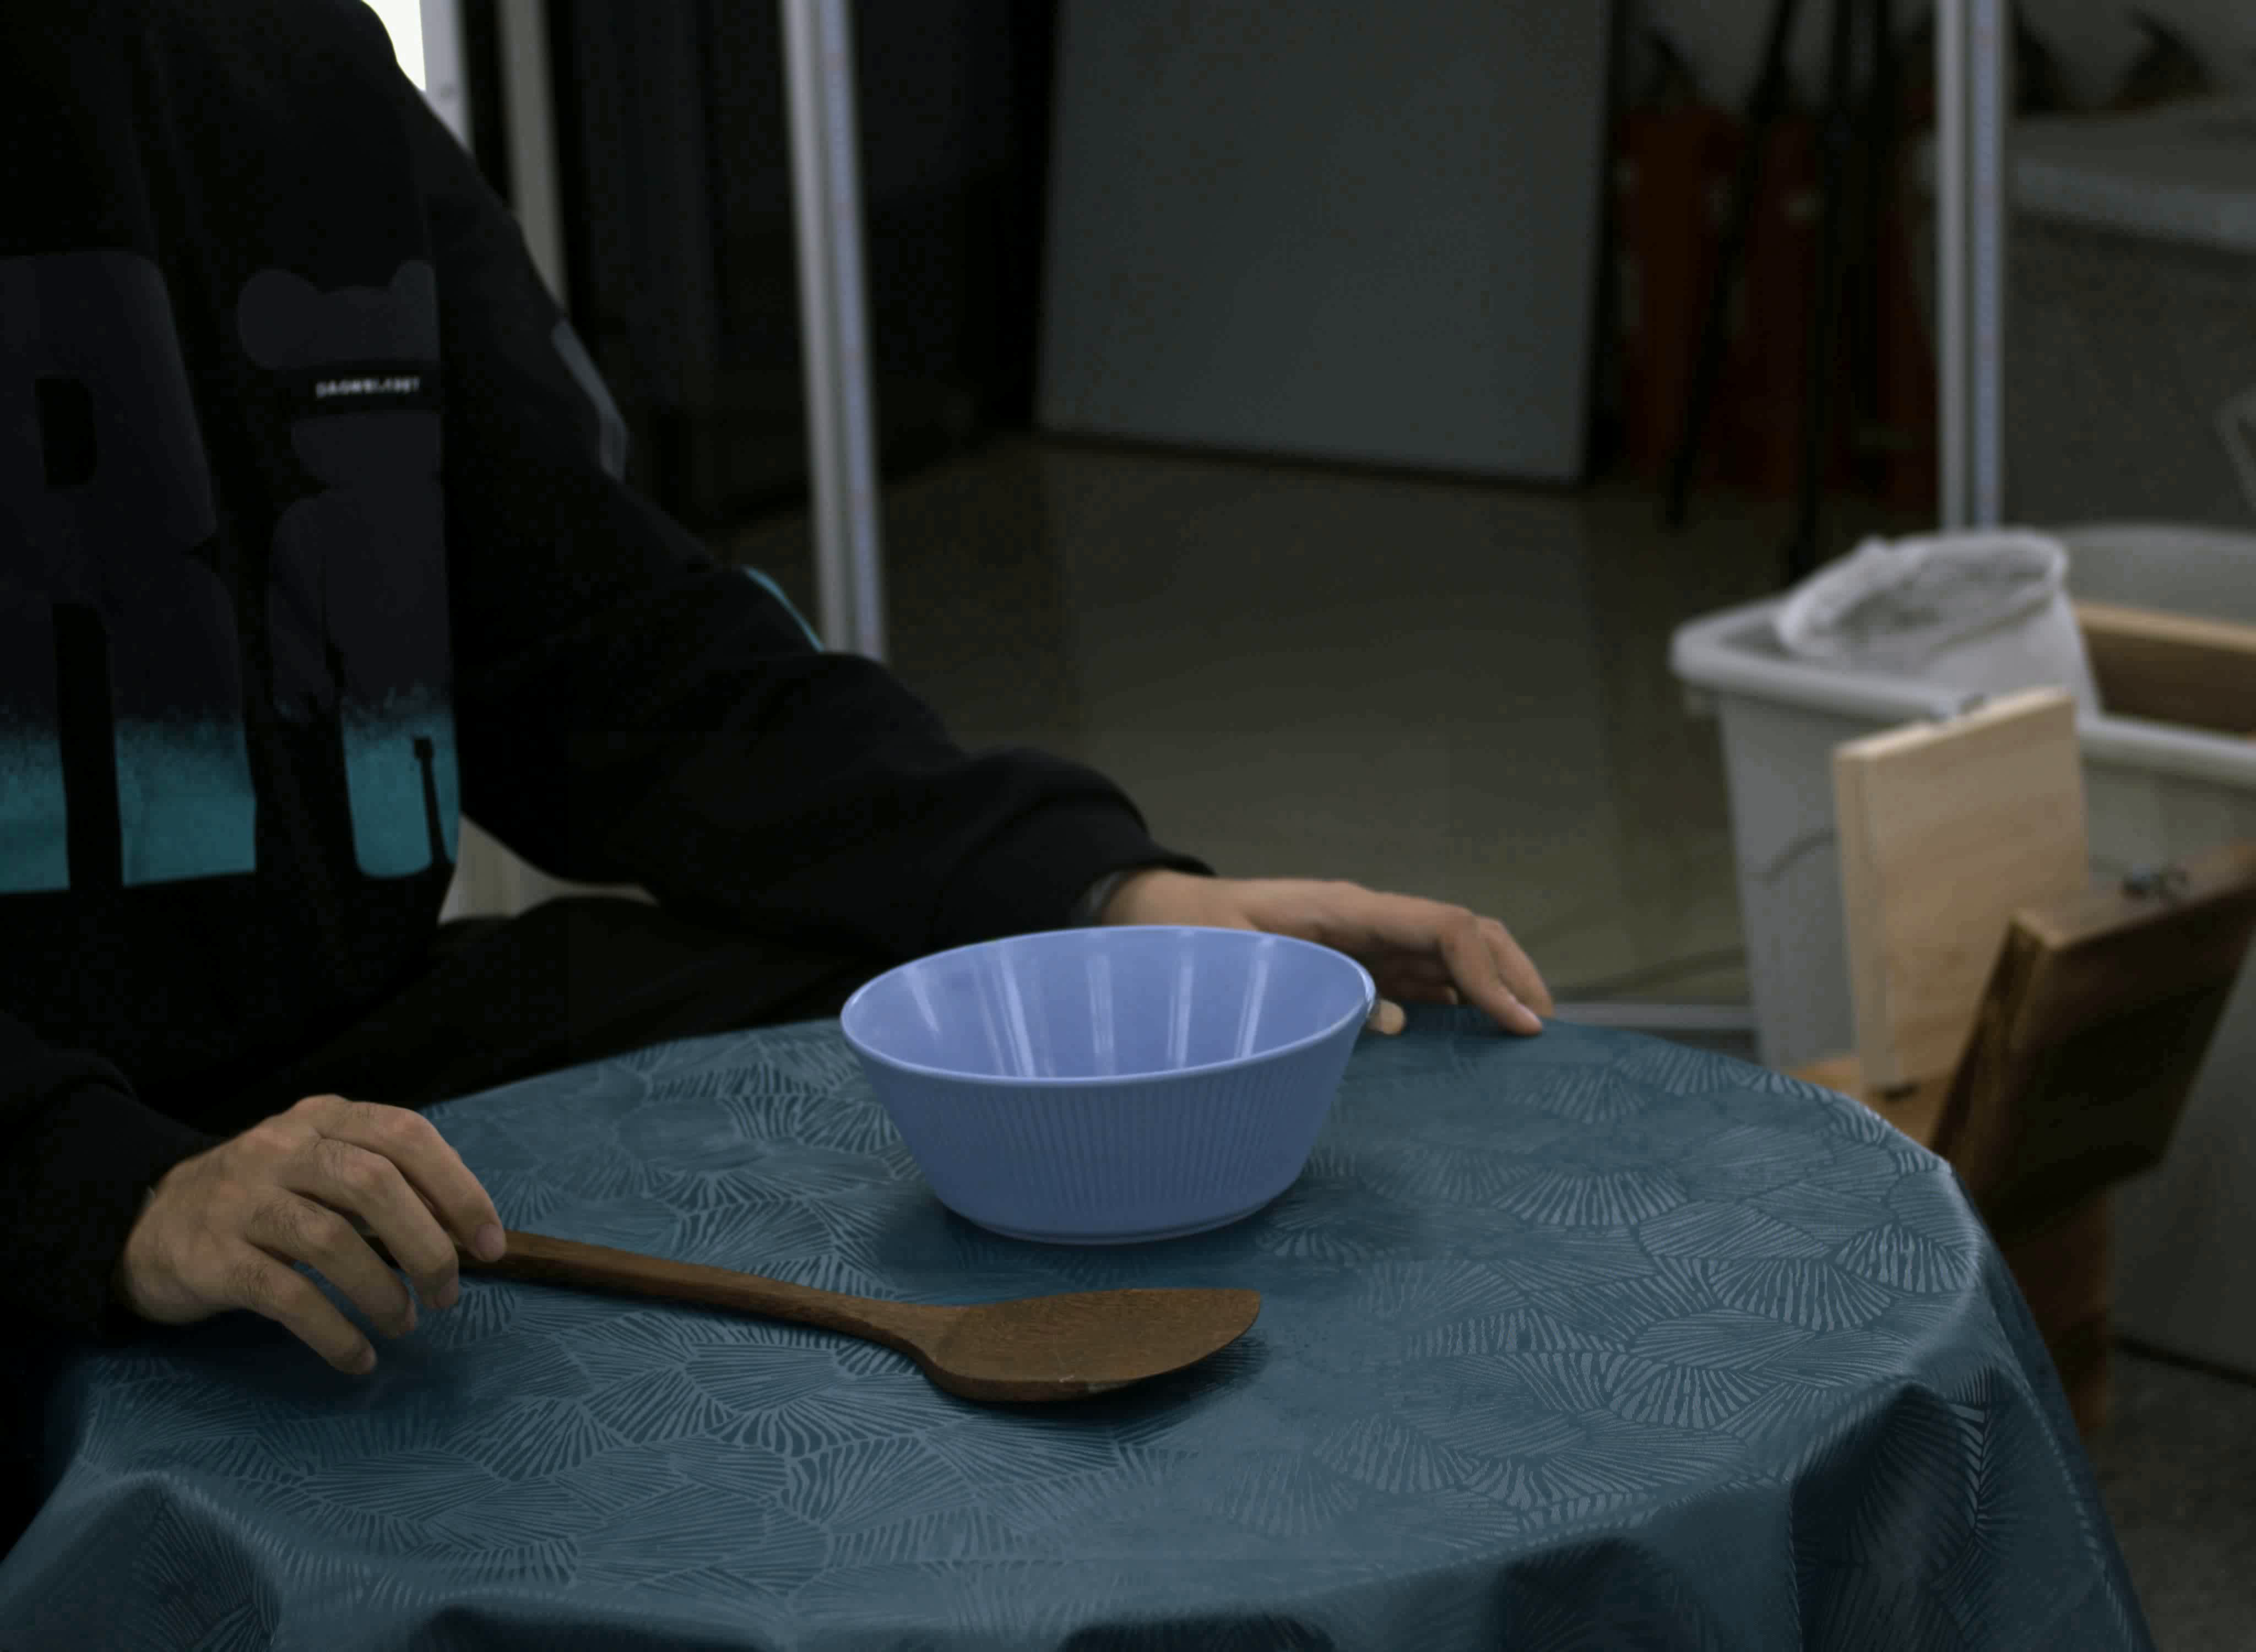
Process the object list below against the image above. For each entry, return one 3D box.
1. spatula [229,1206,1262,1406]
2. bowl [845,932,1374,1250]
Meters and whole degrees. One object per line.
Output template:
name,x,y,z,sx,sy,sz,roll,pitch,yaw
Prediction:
spatula,-0.134,0.145,1.687,0.388,0.016,0.094,5,16,33
bowl,-0.003,0.089,1.760,0.174,0.071,0.176,-5,13,0
